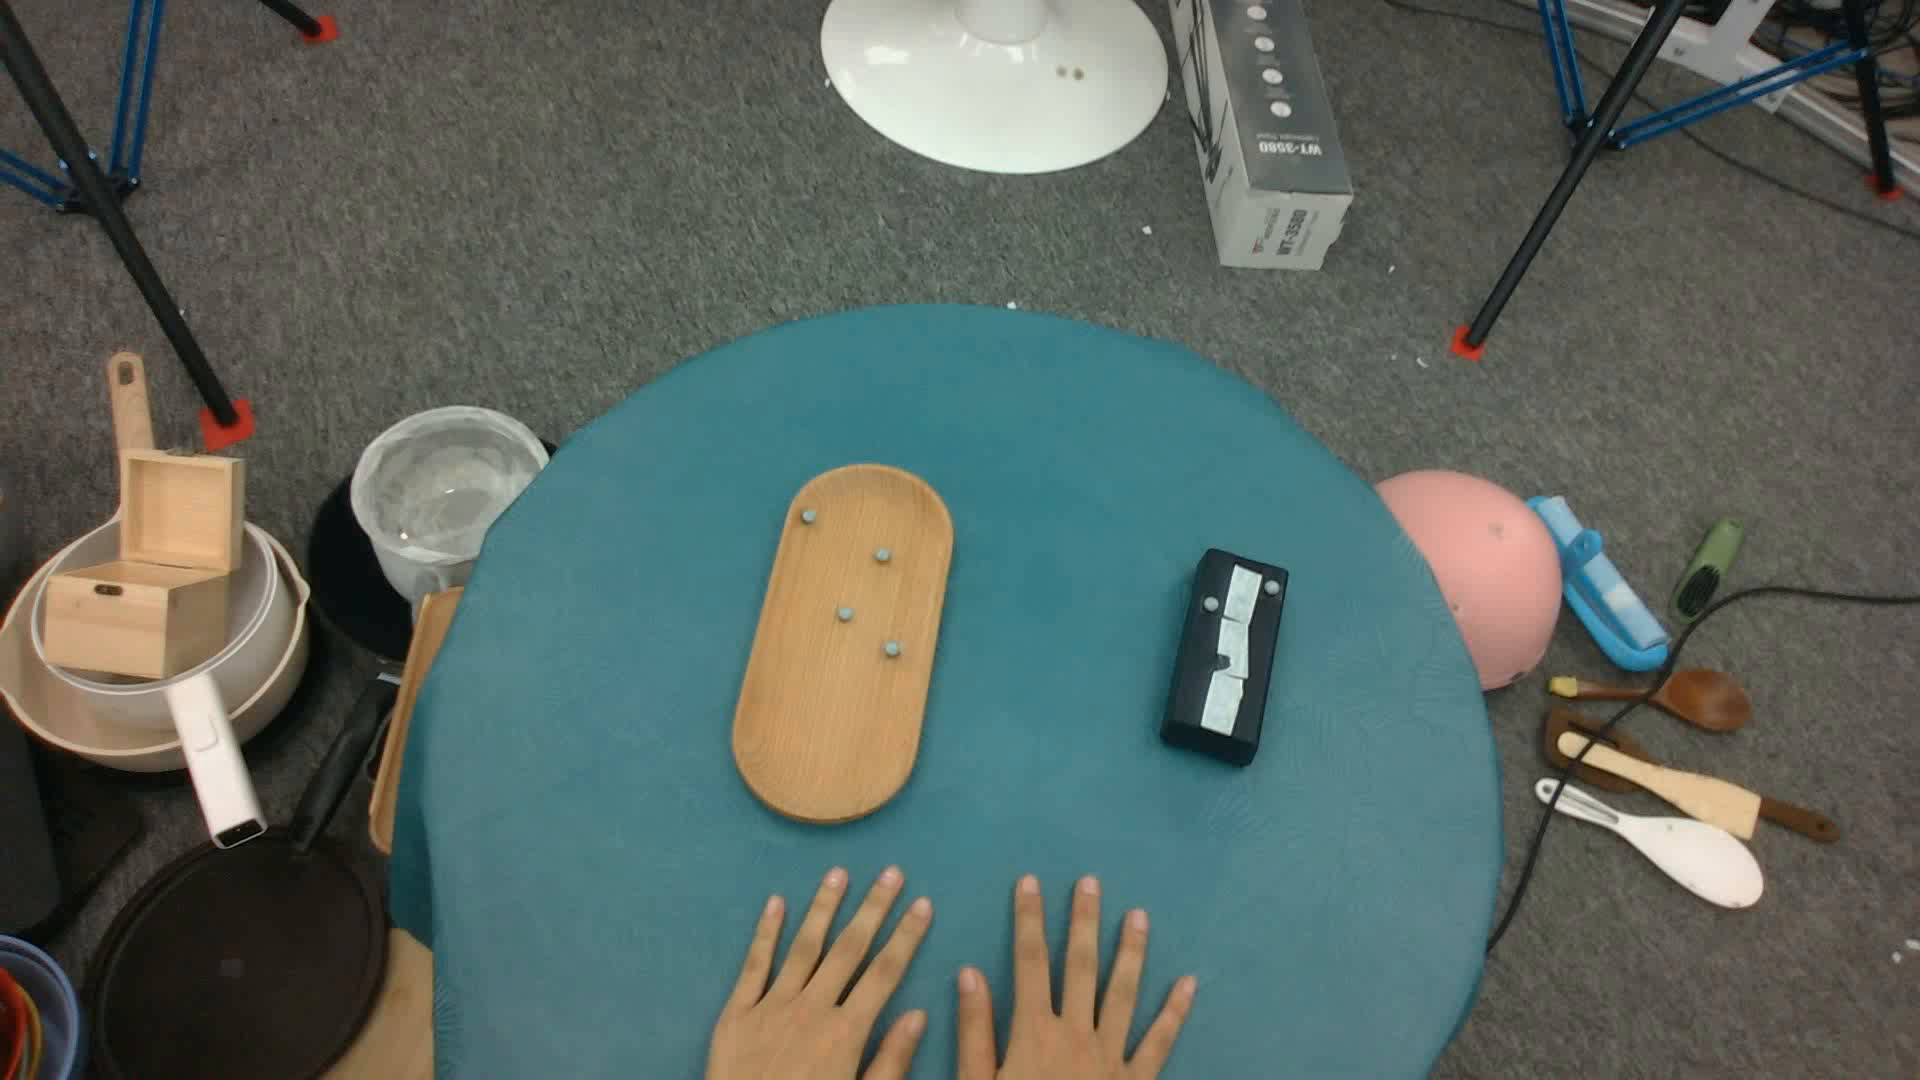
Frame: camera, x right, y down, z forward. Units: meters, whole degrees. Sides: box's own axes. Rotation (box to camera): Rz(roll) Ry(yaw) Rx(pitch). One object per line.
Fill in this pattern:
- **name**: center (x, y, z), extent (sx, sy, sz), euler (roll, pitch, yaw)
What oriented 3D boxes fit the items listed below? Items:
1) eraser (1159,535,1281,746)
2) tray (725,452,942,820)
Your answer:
- **eraser**: center (0.150, 0.055, 0.794), extent (0.053, 0.030, 0.126), euler (12, 55, 8)
- **tray**: center (-0.068, 0.048, 0.777), extent (0.102, 0.020, 0.232), euler (8, 59, -2)
